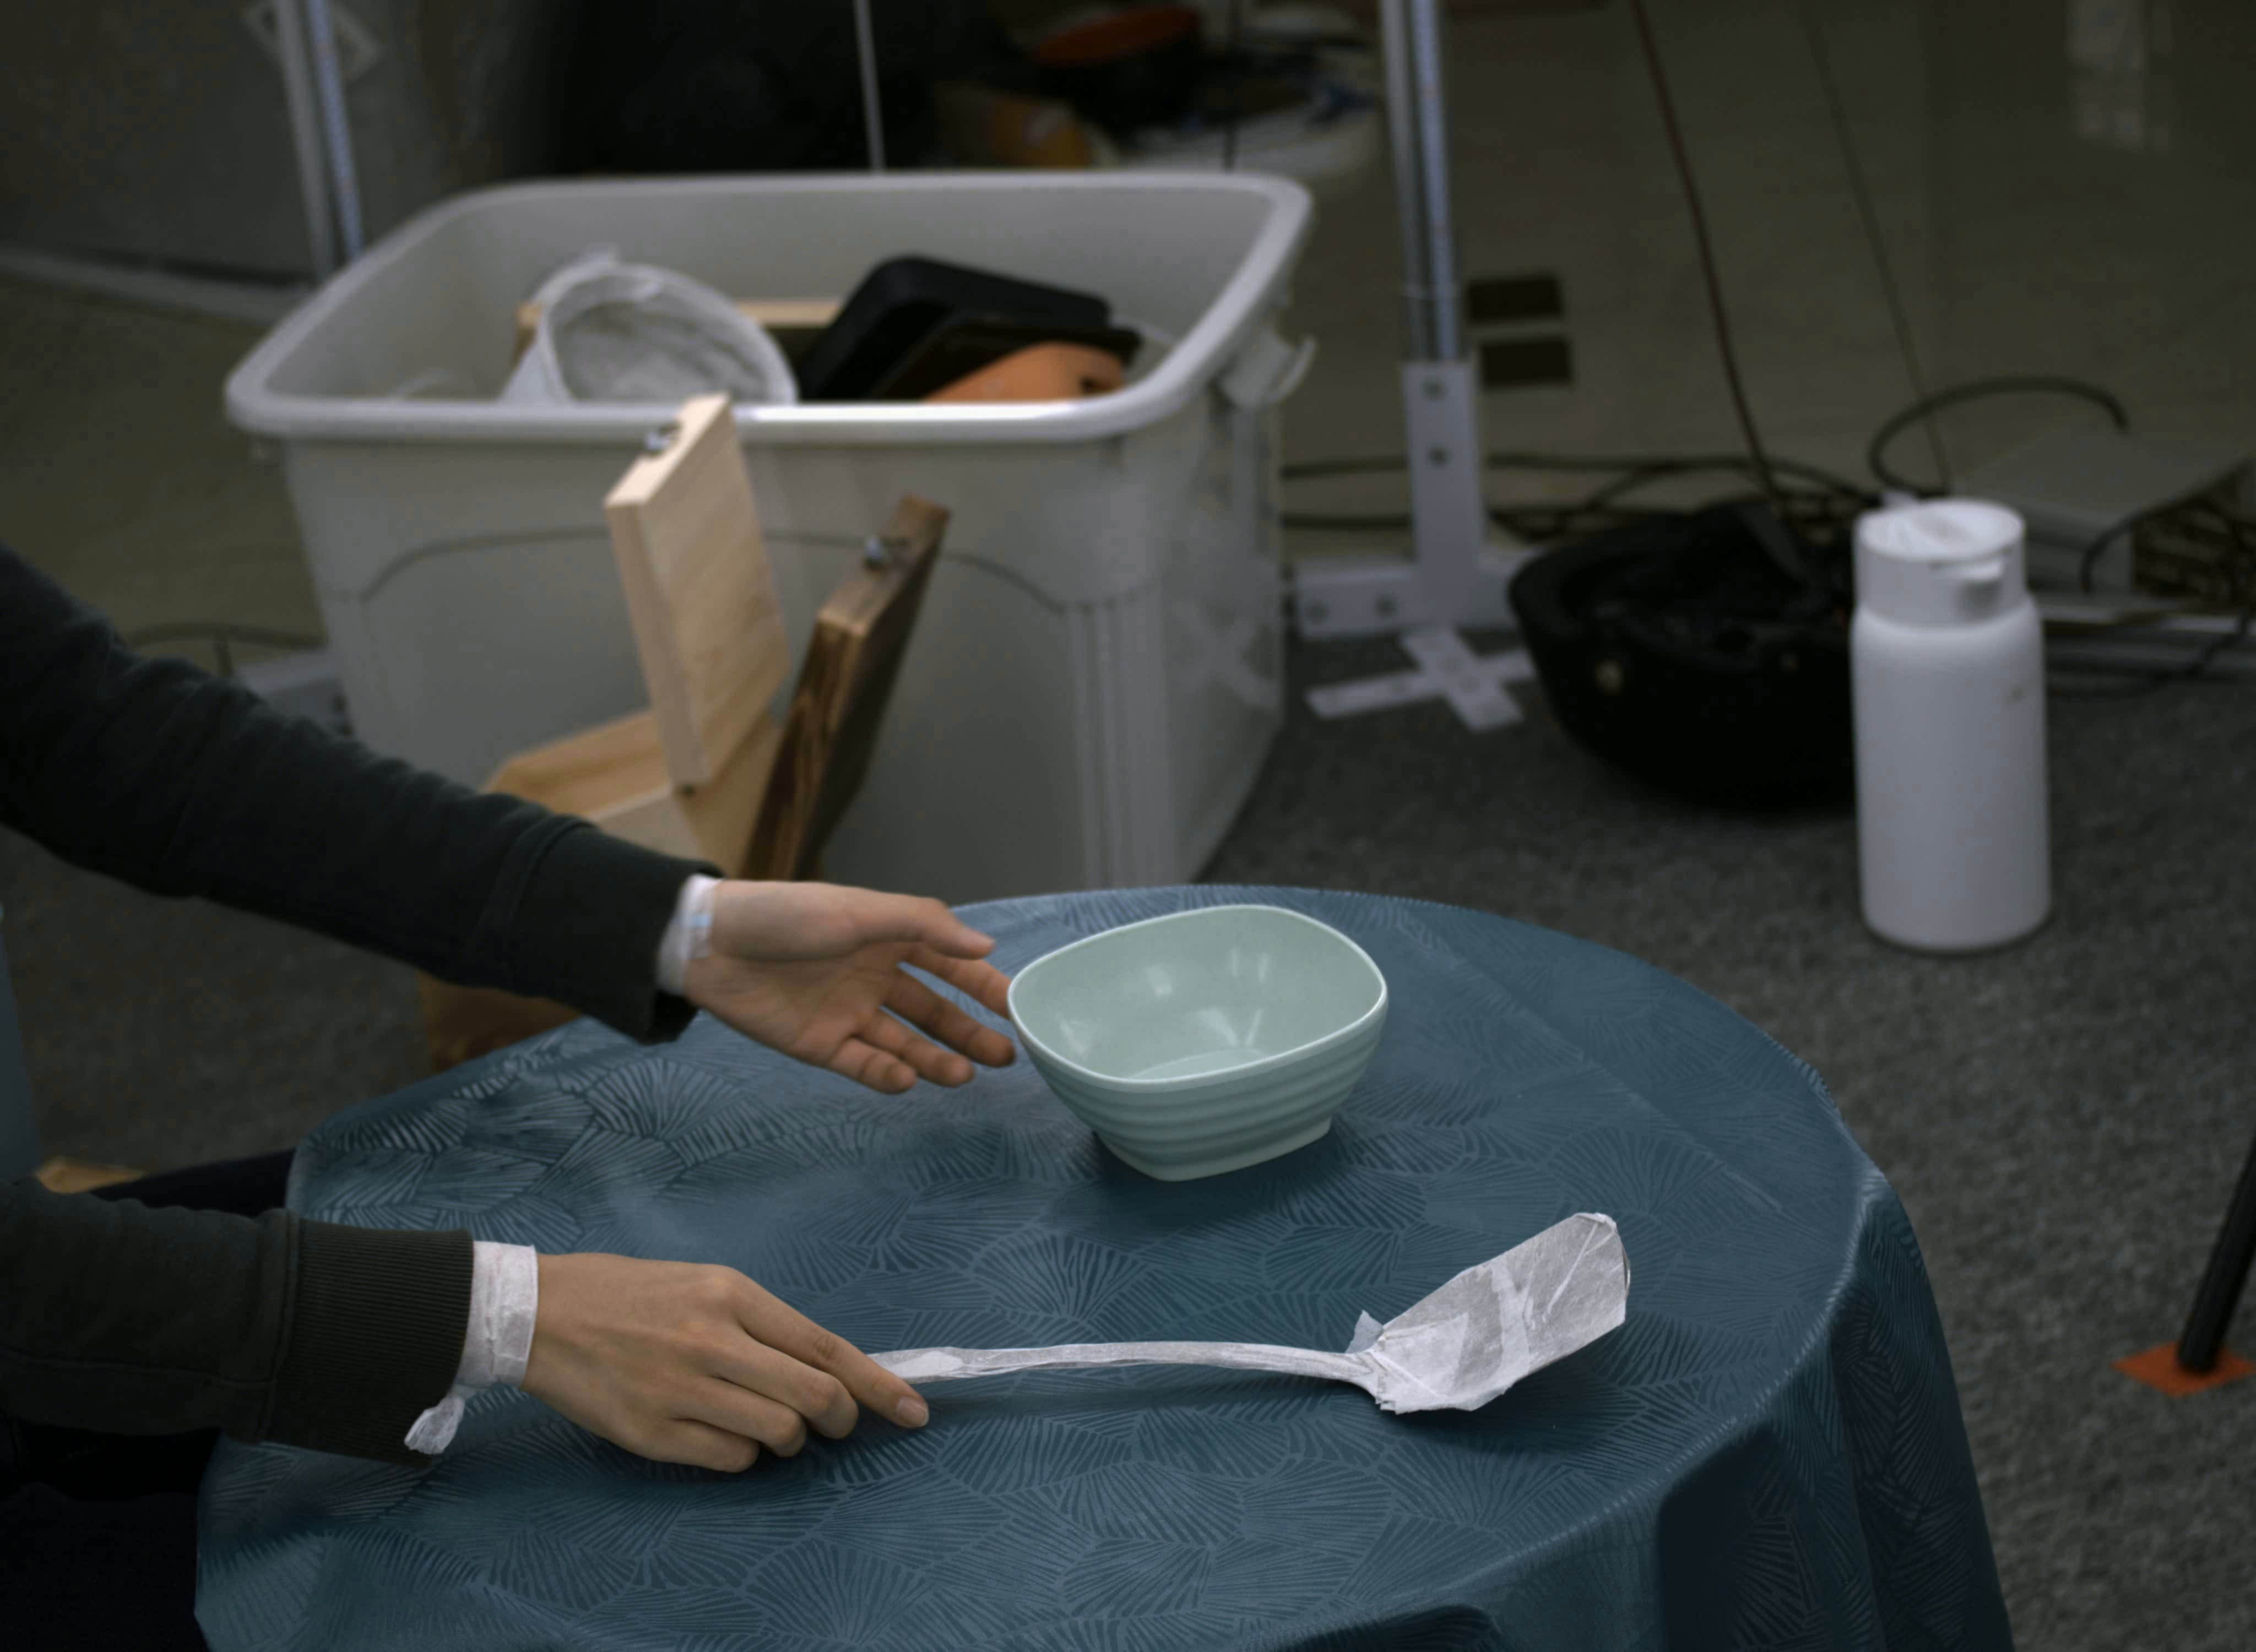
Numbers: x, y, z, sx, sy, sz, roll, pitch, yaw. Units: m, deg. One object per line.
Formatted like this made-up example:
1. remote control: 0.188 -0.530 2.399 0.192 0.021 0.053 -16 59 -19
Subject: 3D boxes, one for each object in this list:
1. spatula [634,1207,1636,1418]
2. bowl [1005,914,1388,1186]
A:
1. spatula: -0.001 0.183 2.013 0.364 0.045 0.097 -3 26 6
2. bowl: 0.027 0.091 2.184 0.151 0.059 0.149 -3 25 2
